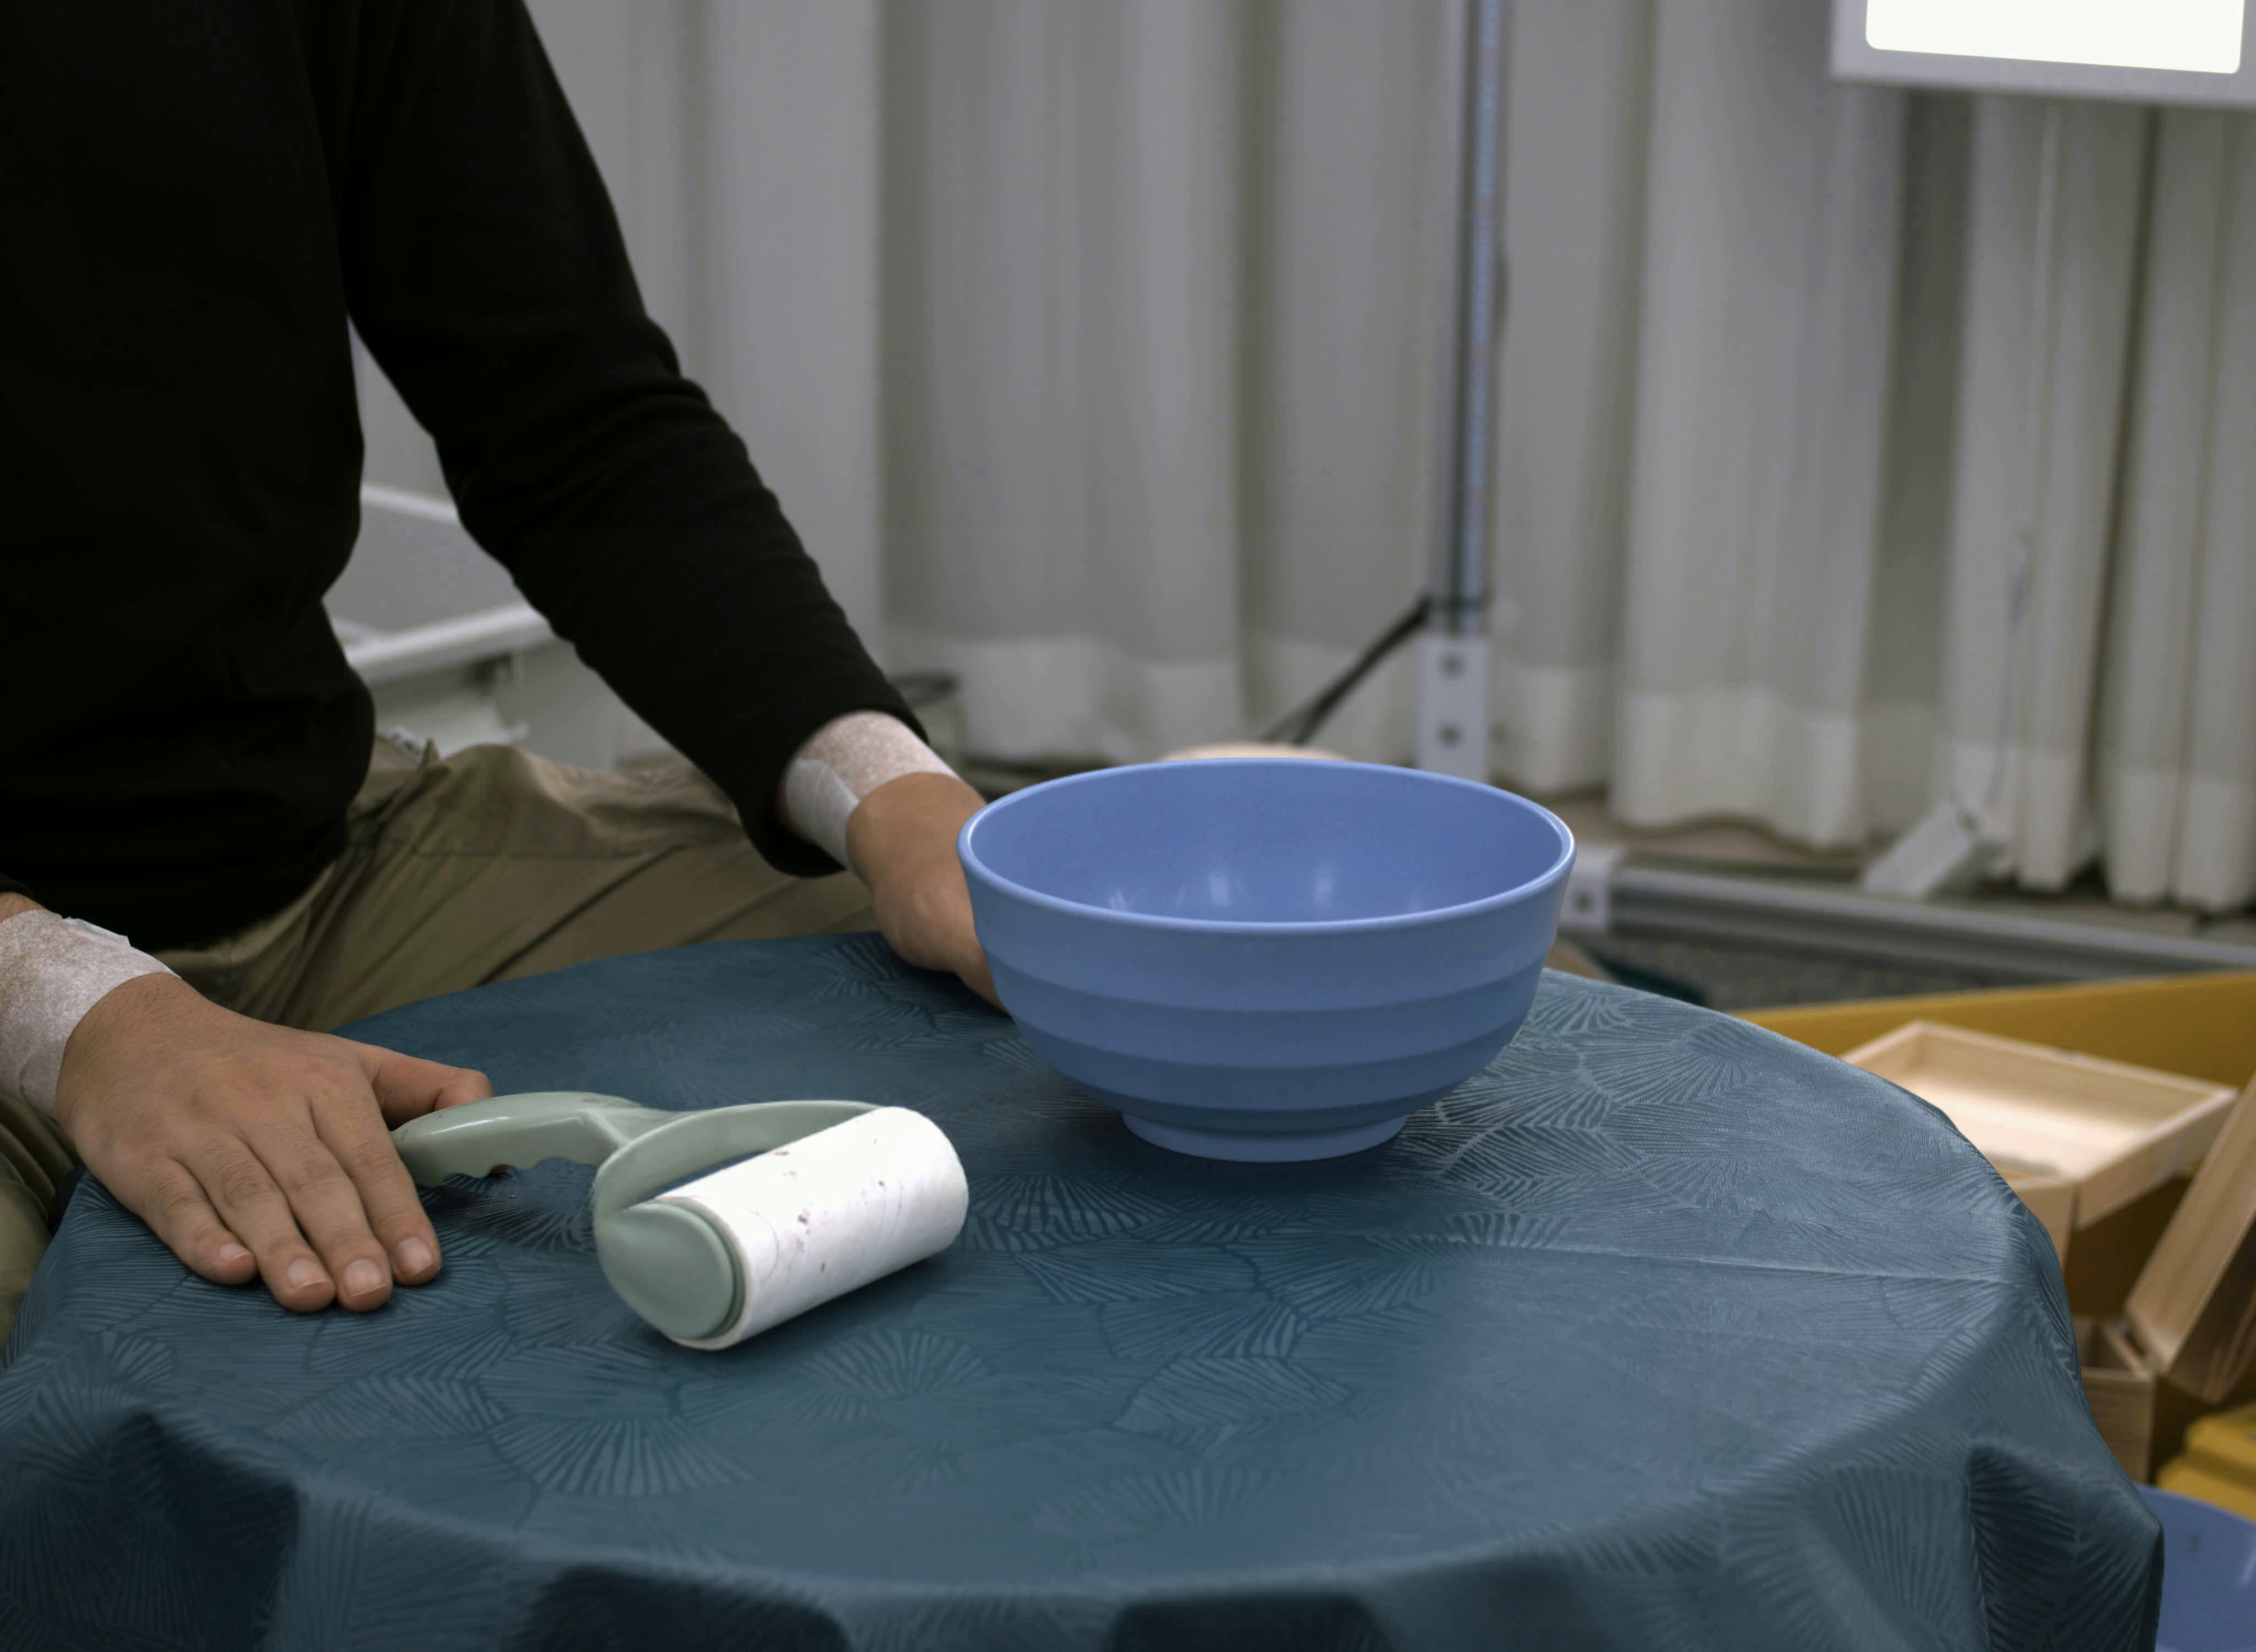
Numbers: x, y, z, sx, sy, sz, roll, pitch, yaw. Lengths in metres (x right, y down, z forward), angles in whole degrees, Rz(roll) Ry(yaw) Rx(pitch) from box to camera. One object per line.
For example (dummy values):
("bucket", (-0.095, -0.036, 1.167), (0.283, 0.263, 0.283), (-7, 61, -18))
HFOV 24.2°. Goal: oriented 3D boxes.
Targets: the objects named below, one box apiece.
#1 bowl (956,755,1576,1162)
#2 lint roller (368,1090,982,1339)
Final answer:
("bowl", (0.044, 0.047, 1.676), (0.196, 0.096, 0.195), (0, 17, 1))
("lint roller", (-0.149, 0.103, 1.566), (0.195, 0.049, 0.117), (9, 19, 34))
